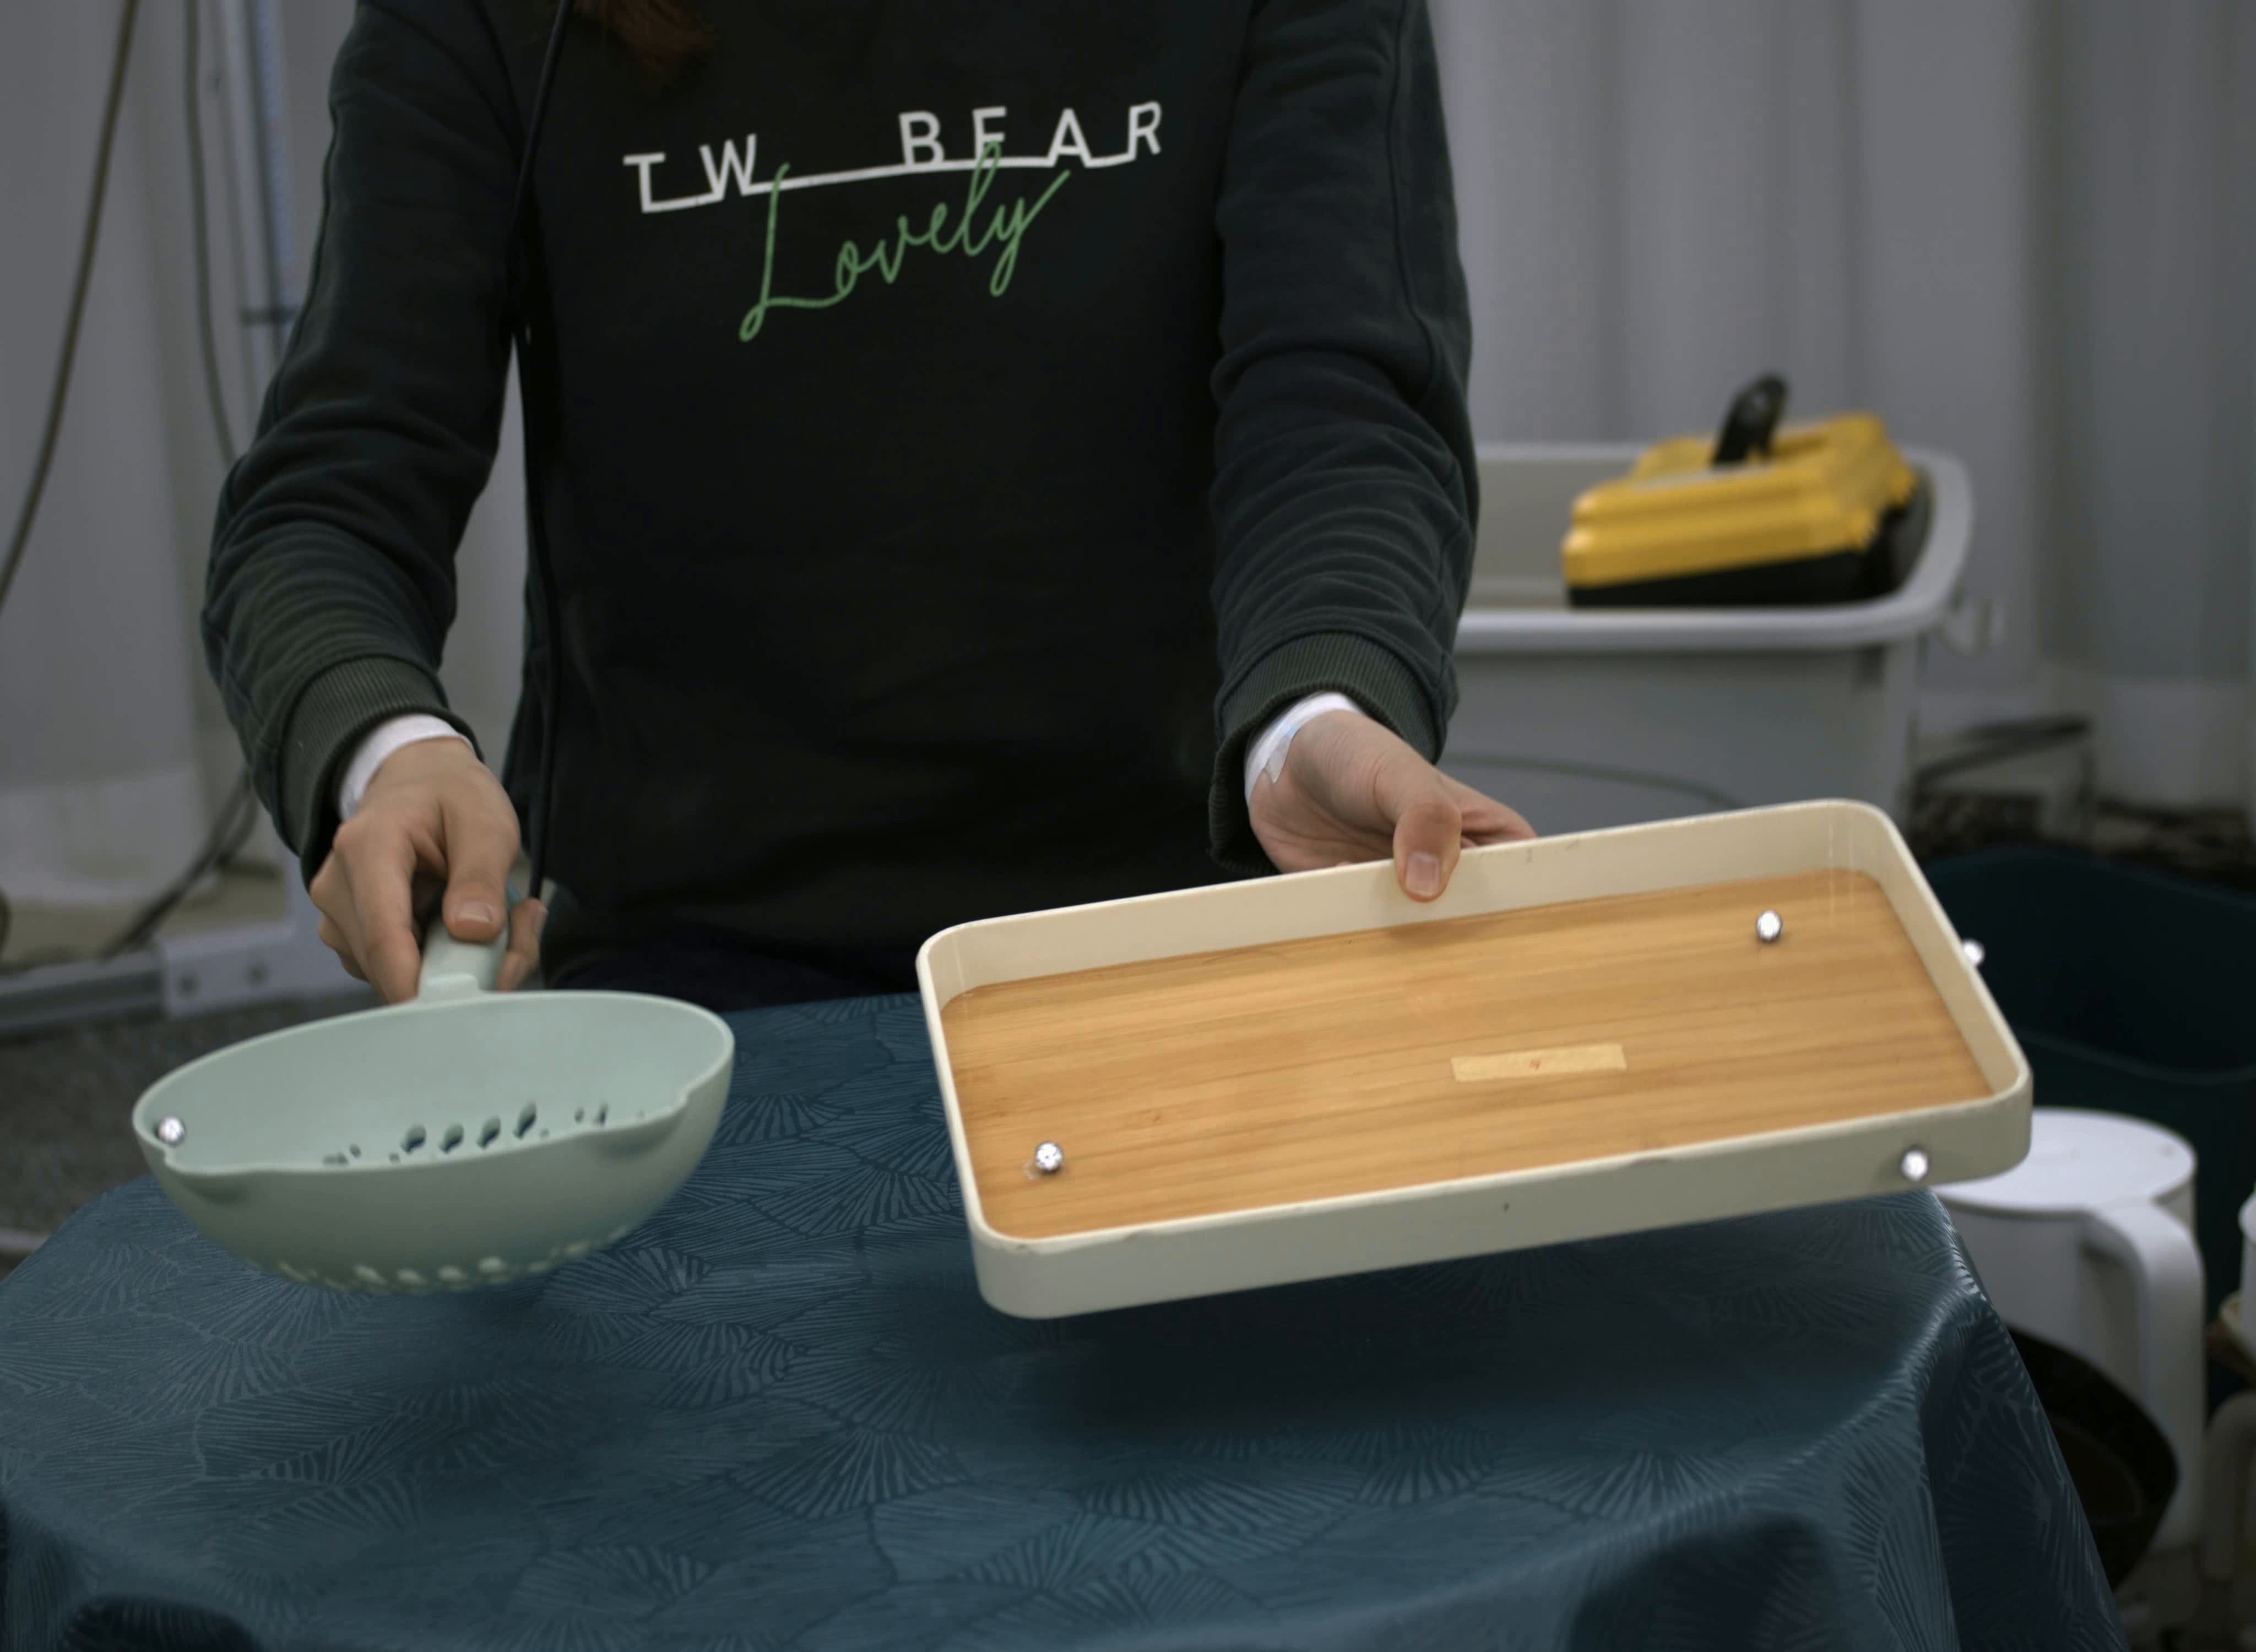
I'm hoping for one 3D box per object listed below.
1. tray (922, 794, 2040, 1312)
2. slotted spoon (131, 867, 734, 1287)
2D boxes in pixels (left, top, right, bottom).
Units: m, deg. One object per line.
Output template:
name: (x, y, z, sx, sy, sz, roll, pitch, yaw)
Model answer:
tray: (0.097, 0.062, 1.583, 0.299, 0.027, 0.194, -8, 27, -4)
slotted spoon: (-0.200, 0.058, 1.627, 0.169, 0.075, 0.362, -6, 20, -3)
